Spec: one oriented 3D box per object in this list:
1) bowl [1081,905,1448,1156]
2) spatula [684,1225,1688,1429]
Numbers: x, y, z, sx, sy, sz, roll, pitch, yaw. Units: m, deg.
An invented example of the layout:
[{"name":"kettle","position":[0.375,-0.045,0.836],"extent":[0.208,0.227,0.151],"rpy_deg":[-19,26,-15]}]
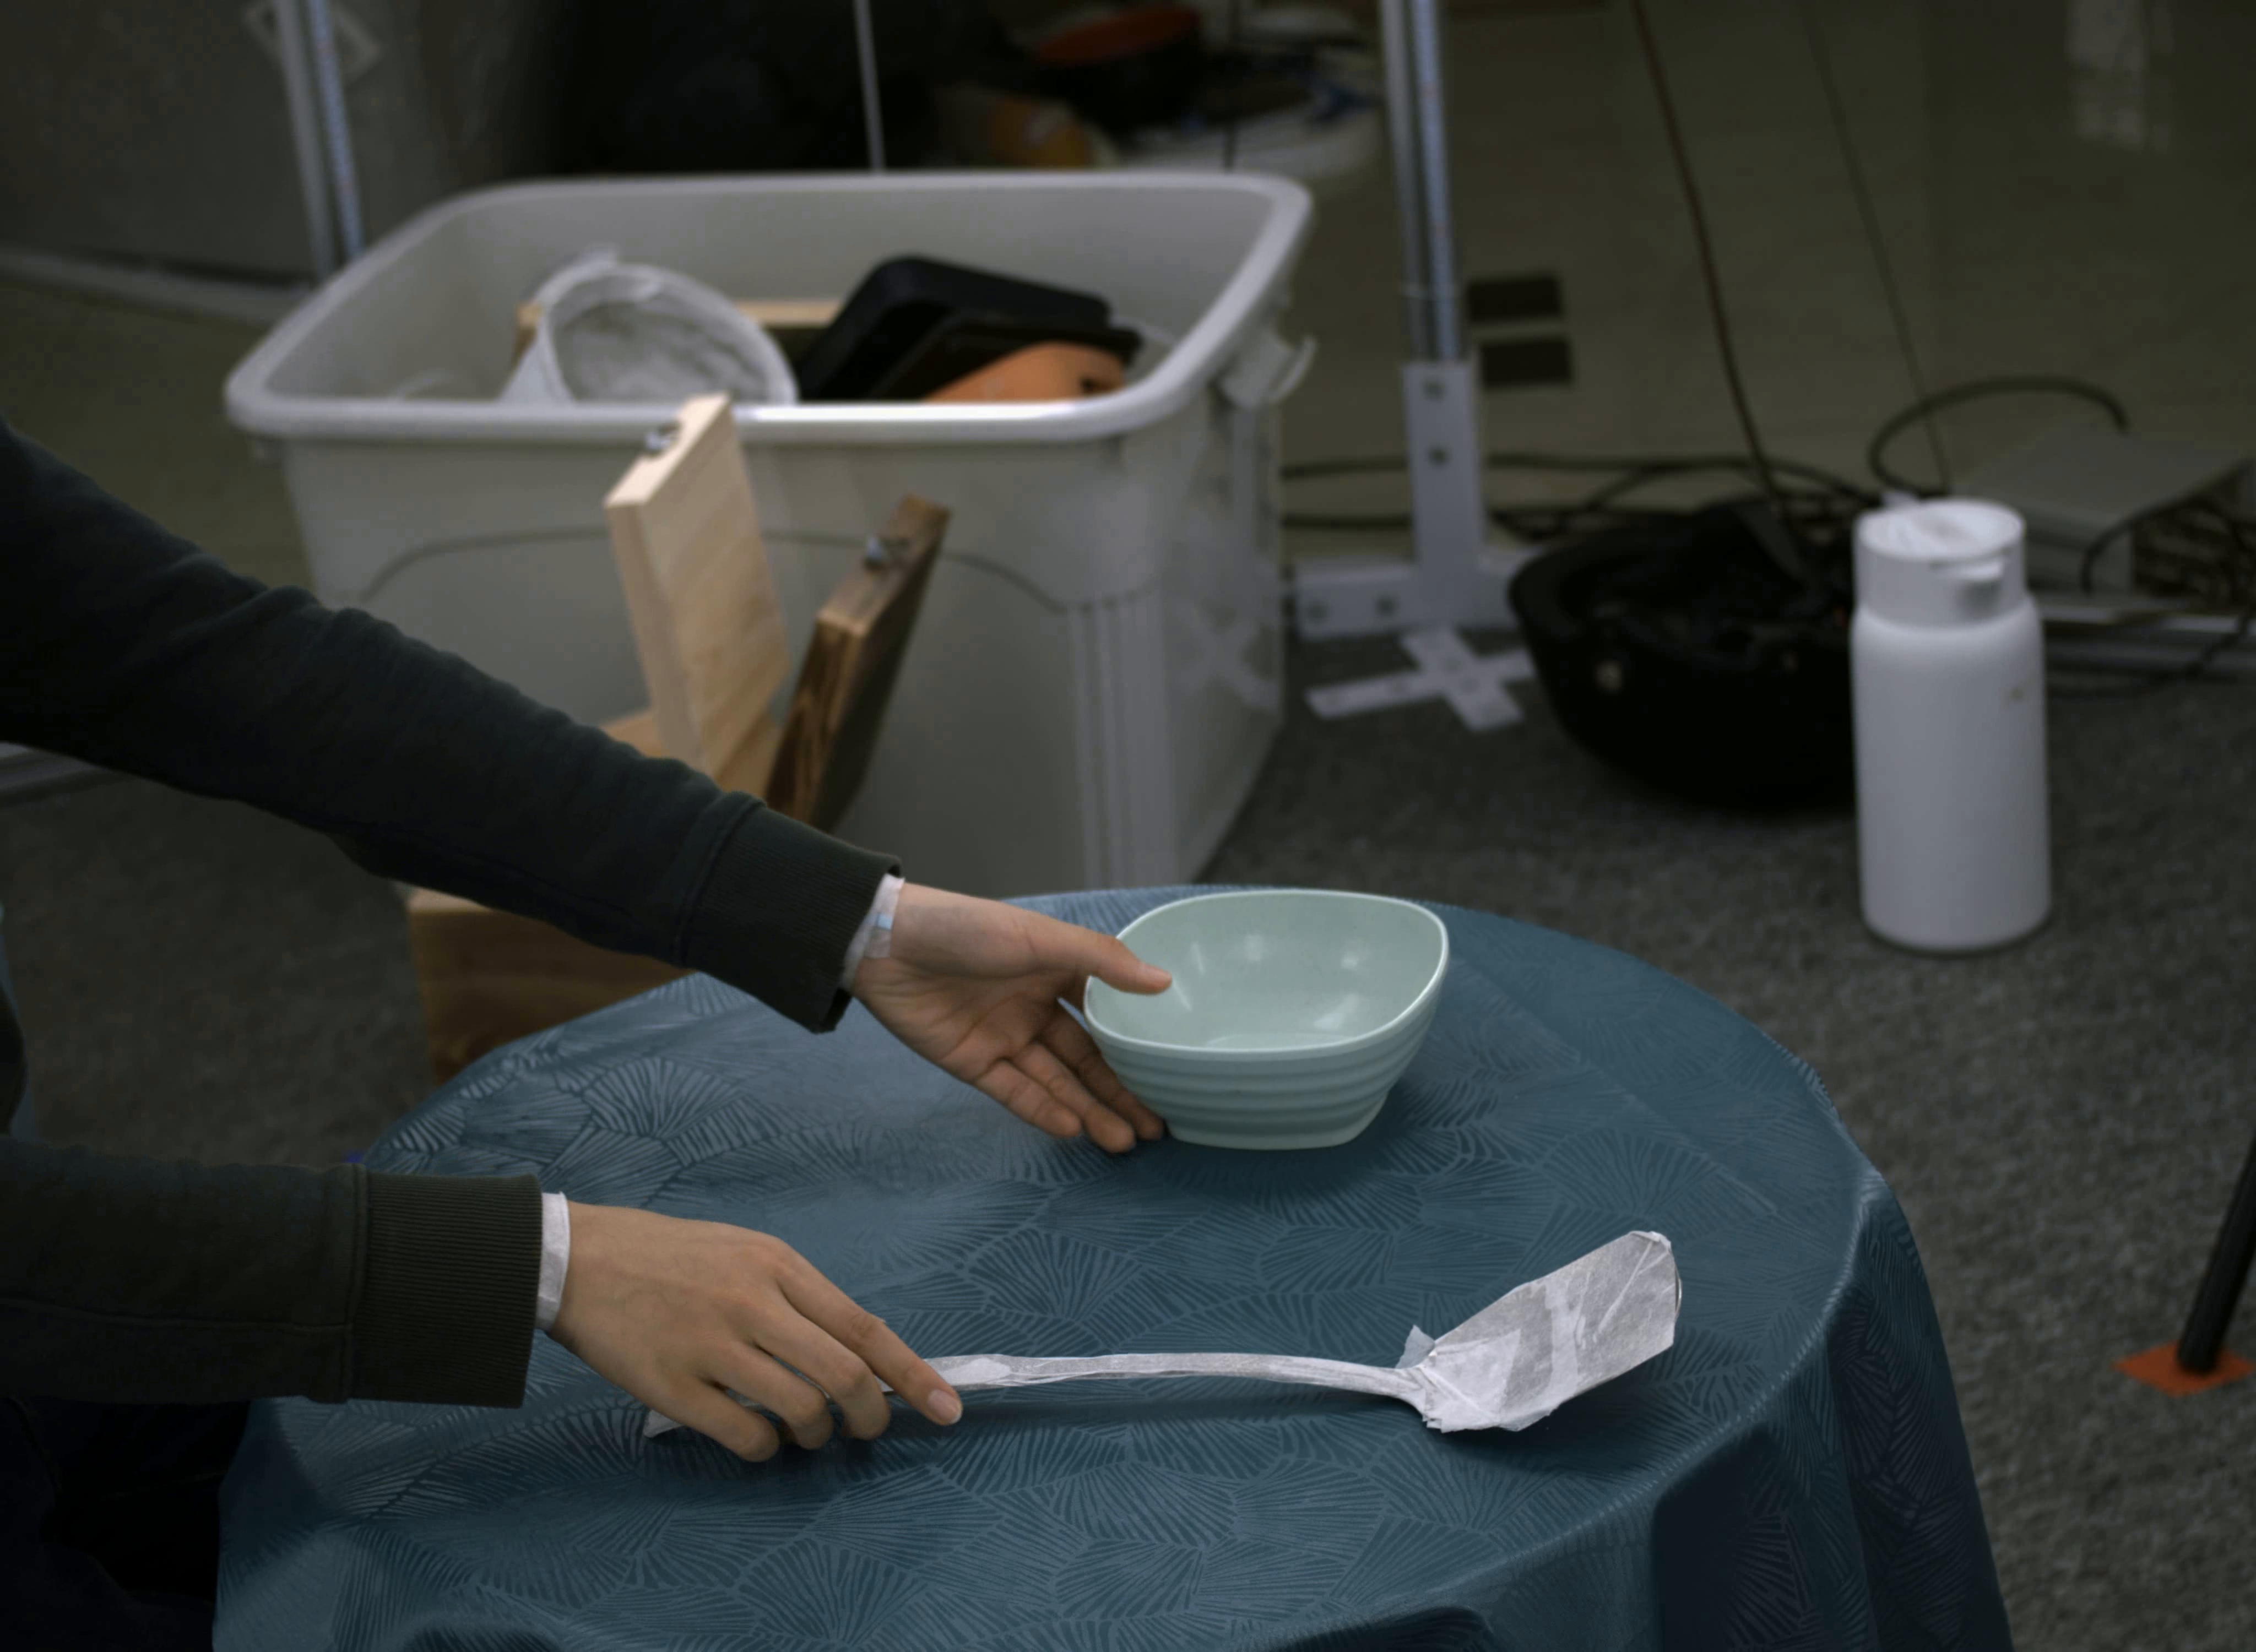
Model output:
[{"name":"bowl","position":[0.055,0.084,2.194],"extent":[0.151,0.059,0.149],"rpy_deg":[-4,23,2]},{"name":"spatula","position":[0.016,0.186,2.003],"extent":[0.364,0.045,0.097],"rpy_deg":[-2,27,8]}]
